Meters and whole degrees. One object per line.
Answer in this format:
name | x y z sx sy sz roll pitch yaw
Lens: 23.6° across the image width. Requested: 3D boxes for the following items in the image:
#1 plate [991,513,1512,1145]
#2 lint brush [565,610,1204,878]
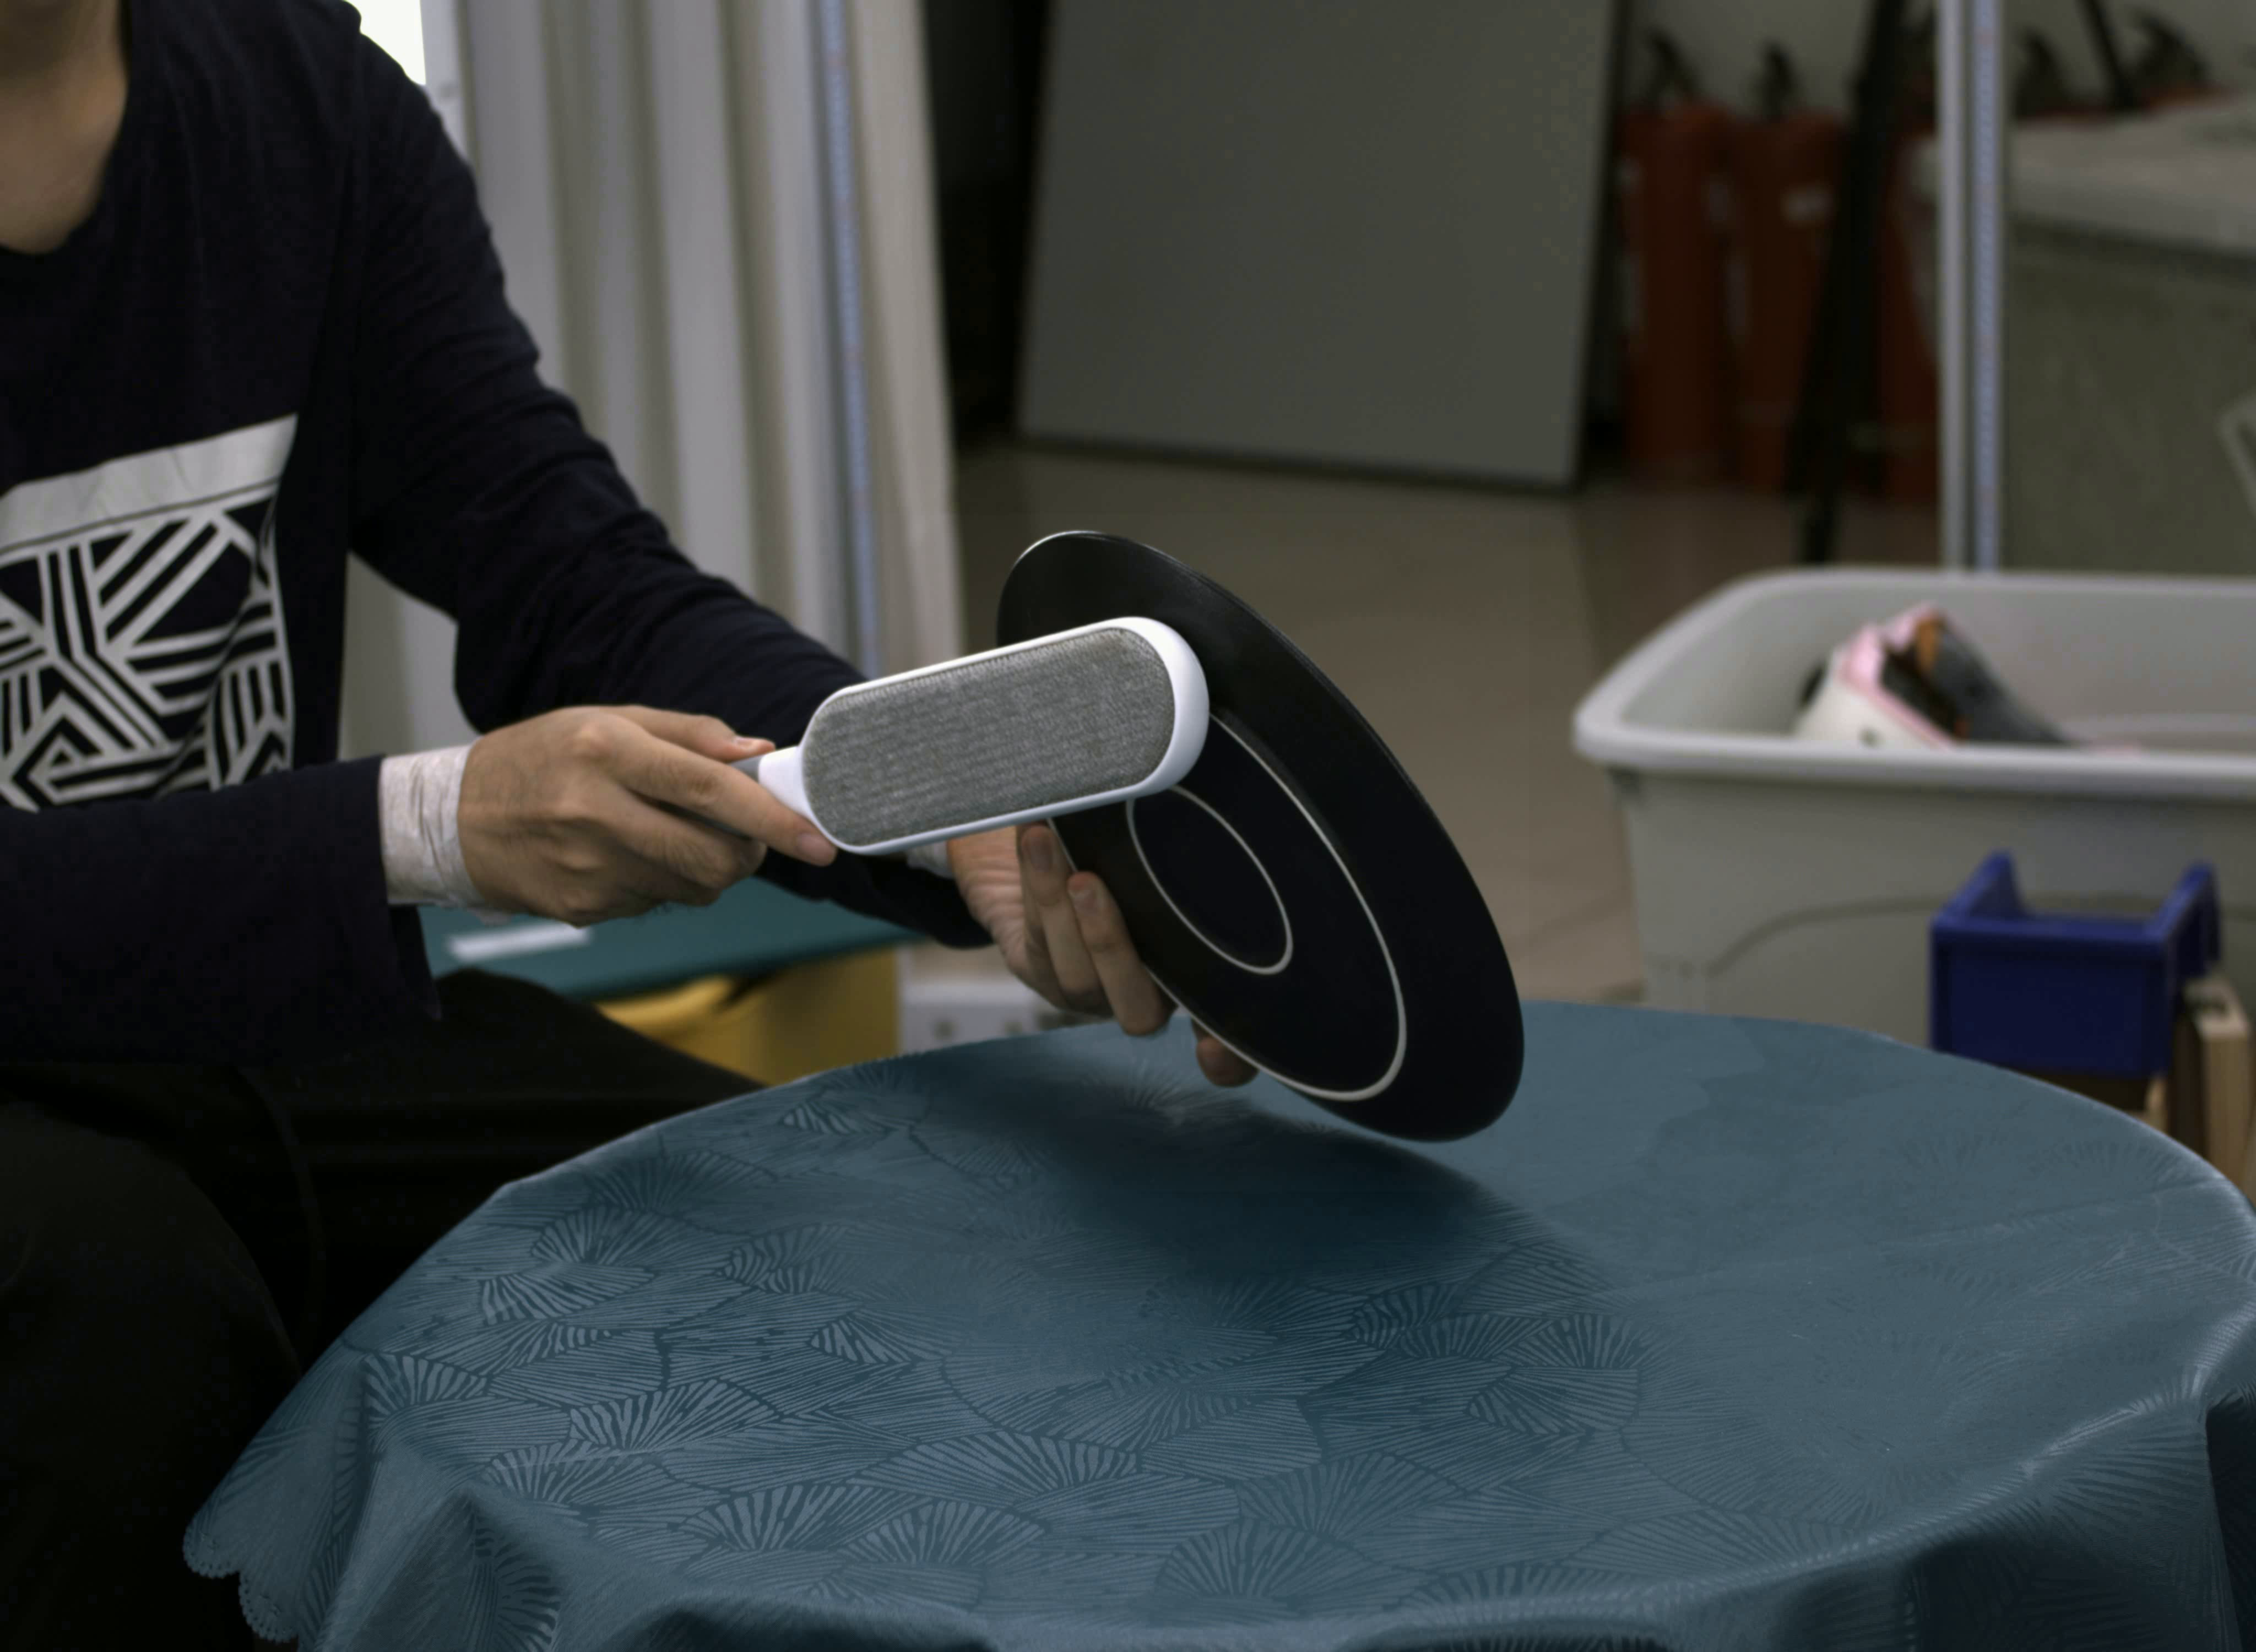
plate | 0.032 0.008 1.749 0.023 0.244 0.247 -36 27 -24
lint brush | -0.086 -0.019 1.772 0.020 0.061 0.311 -11 -2 -44
